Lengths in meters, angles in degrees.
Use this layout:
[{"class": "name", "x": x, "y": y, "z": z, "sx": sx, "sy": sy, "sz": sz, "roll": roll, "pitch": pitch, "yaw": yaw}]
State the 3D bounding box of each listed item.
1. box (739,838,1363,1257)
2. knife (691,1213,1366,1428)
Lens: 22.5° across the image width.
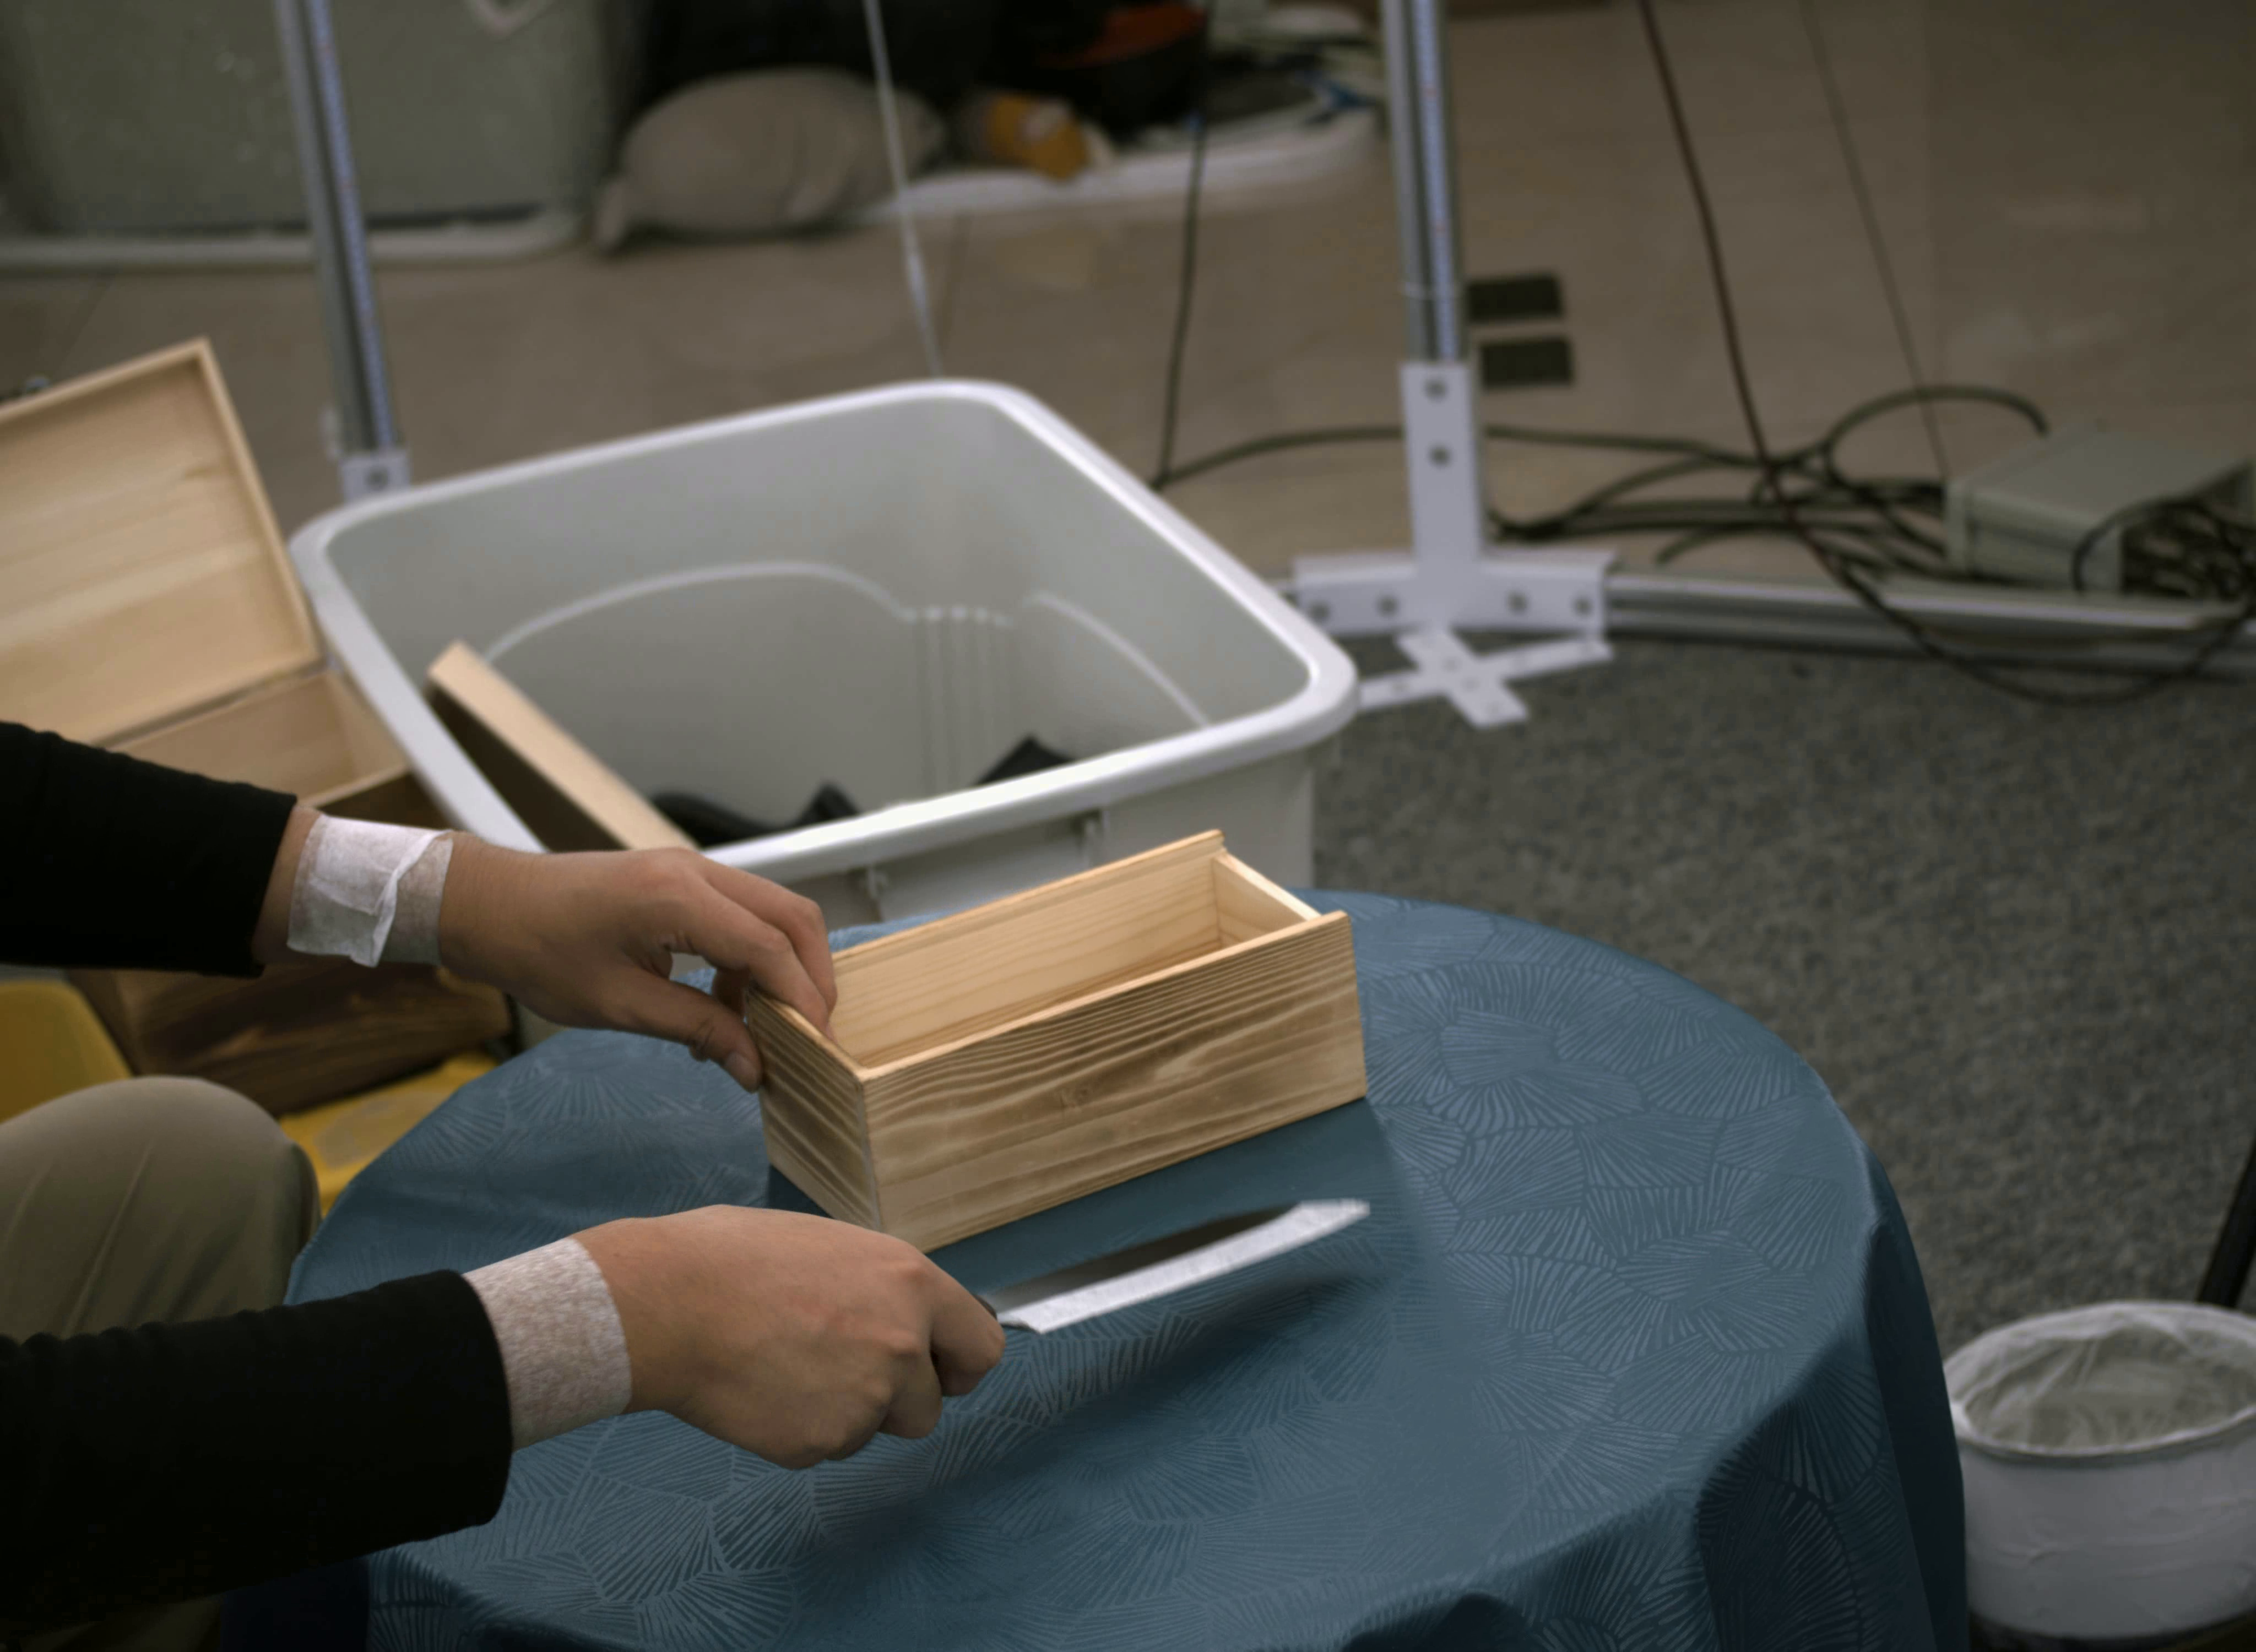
[{"class": "box", "x": -0.029, "y": 0.083, "z": 2.181, "sx": 0.210, "sy": 0.081, "sz": 0.106, "roll": -17, "pitch": 27, "yaw": -23}, {"class": "knife", "x": -0.029, "y": 0.168, "z": 1.992, "sx": 0.288, "sy": 0.020, "sz": 0.050, "roll": -12, "pitch": 21, "yaw": -36}]
